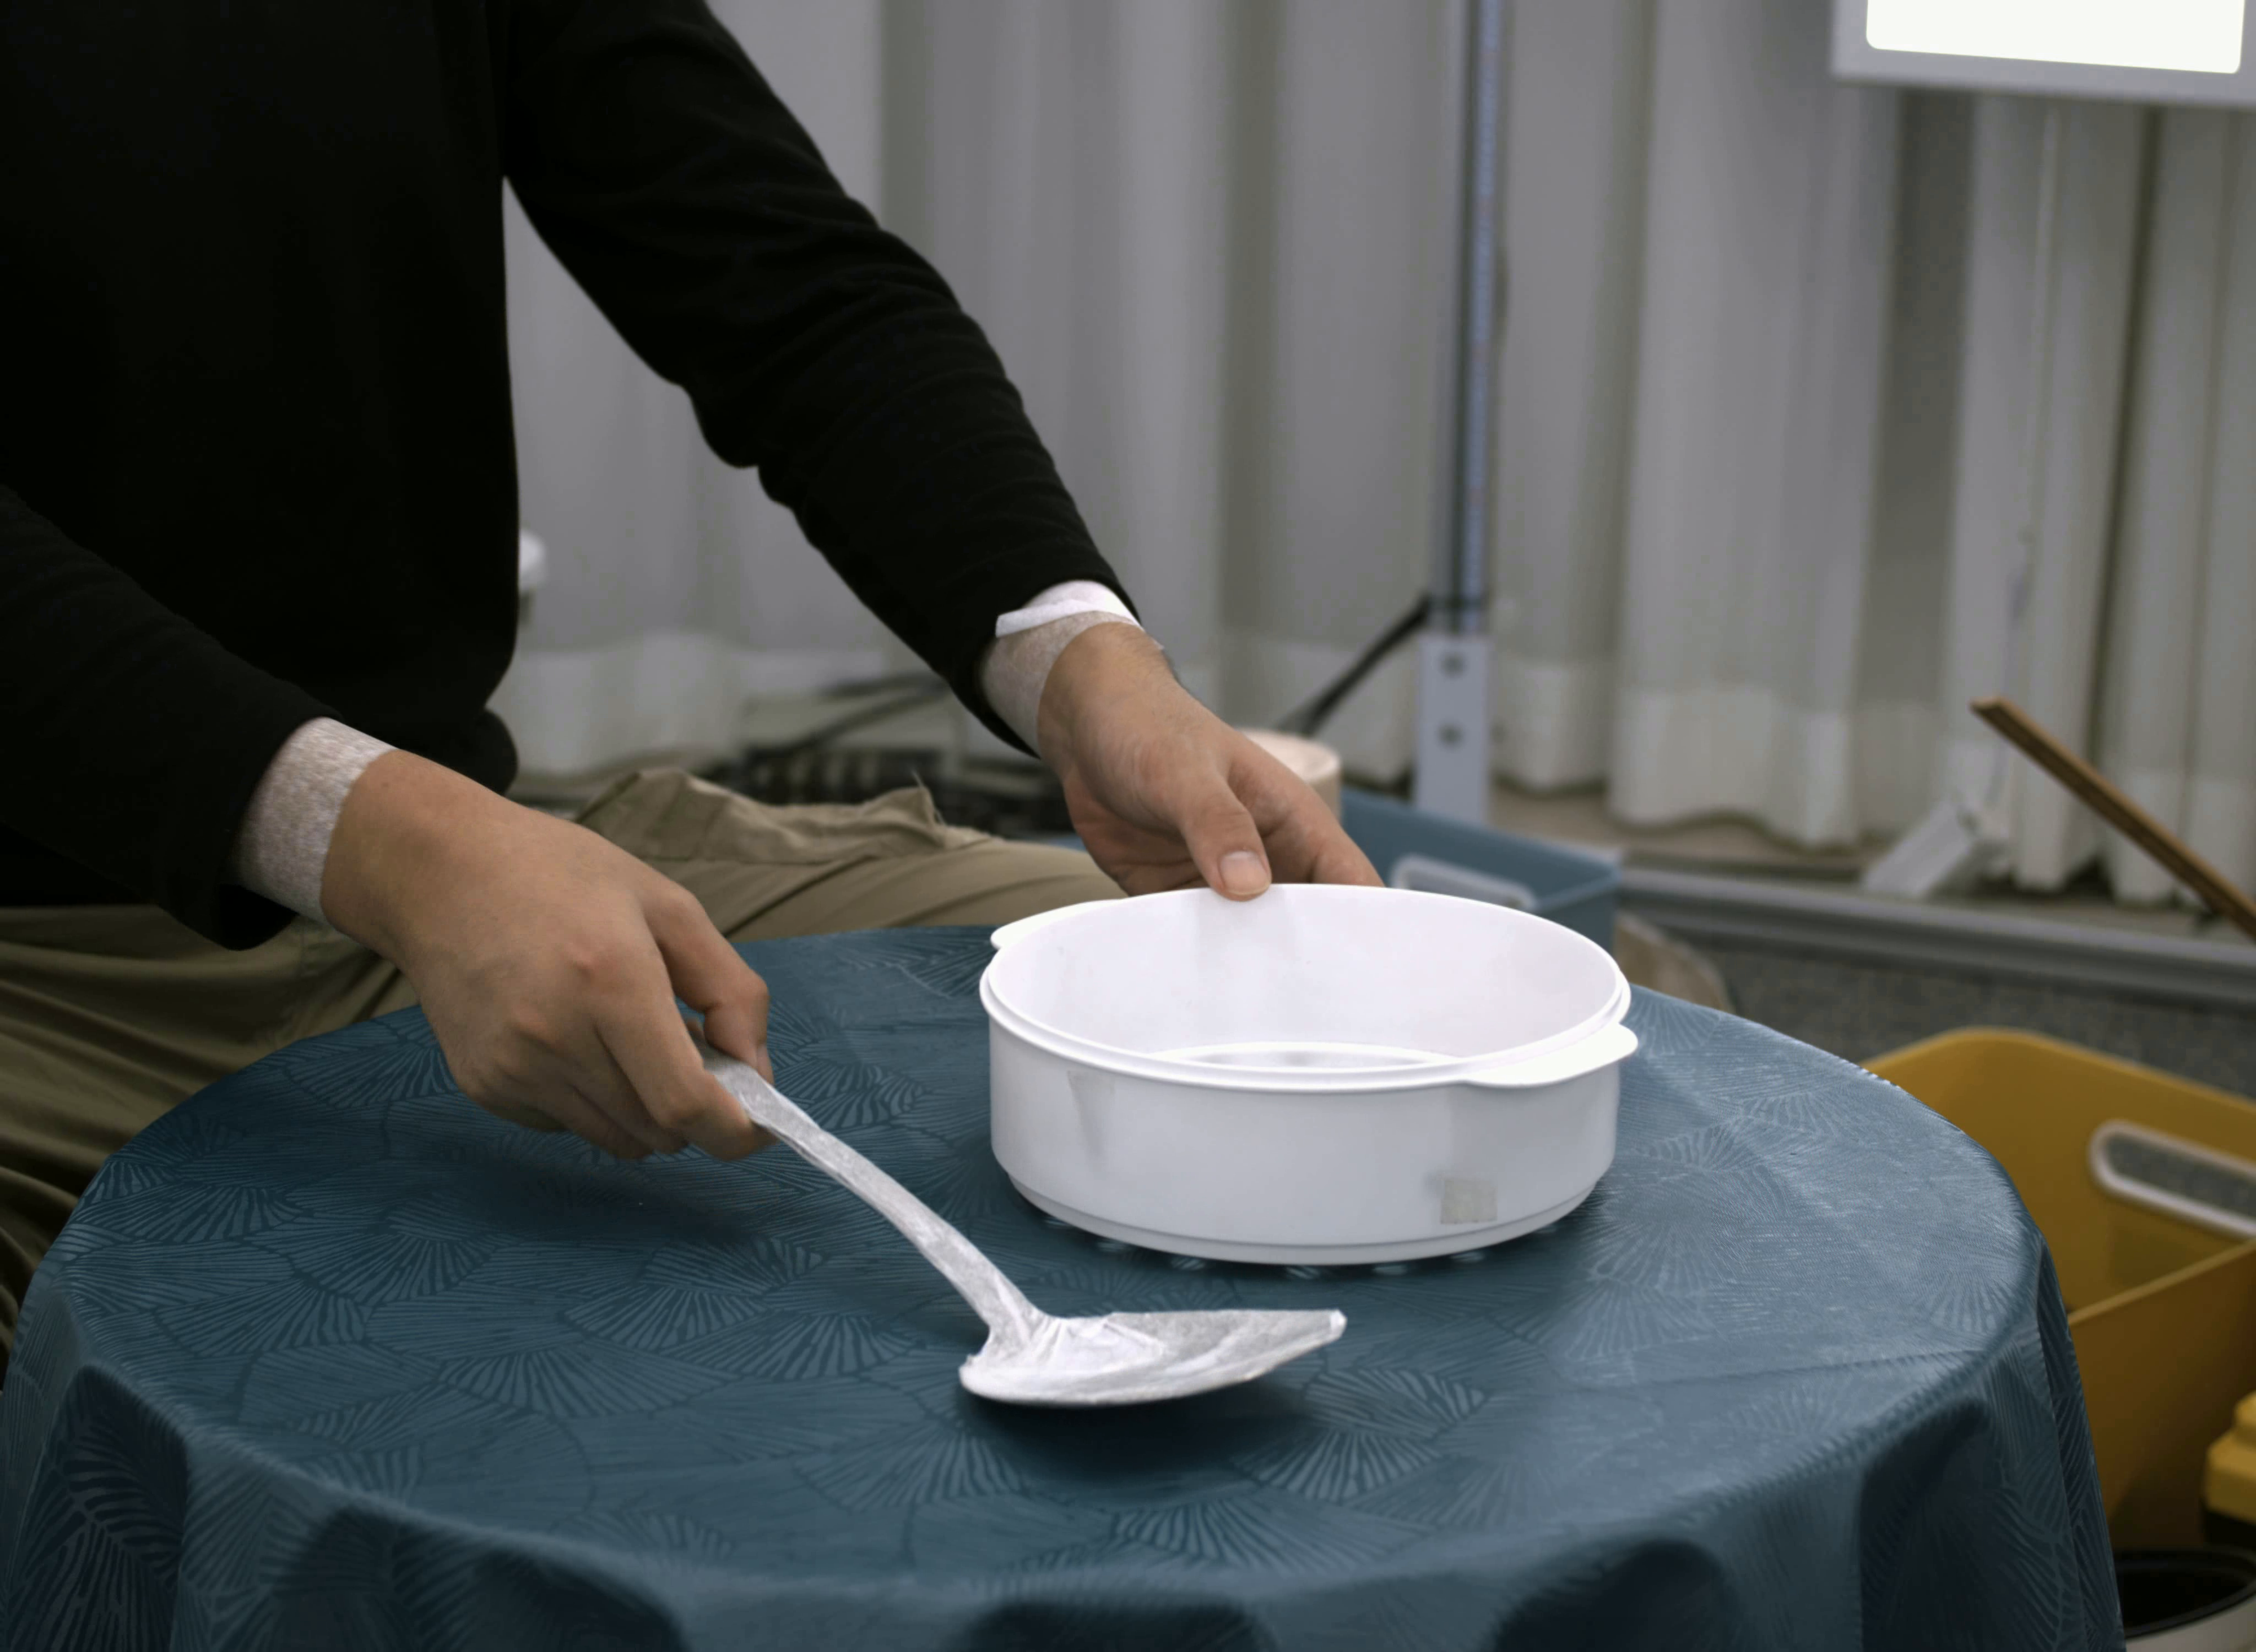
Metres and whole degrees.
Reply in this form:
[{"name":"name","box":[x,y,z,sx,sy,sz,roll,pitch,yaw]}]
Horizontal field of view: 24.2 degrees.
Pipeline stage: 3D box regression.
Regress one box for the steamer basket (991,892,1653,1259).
[{"name":"steamer basket","box":[0.058,0.076,1.621,0.227,0.070,0.203,13,19,42]}]

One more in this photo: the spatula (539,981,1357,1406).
[{"name":"spatula","box":[-0.077,0.099,1.539,0.099,0.045,0.359,-15,31,-36]}]
